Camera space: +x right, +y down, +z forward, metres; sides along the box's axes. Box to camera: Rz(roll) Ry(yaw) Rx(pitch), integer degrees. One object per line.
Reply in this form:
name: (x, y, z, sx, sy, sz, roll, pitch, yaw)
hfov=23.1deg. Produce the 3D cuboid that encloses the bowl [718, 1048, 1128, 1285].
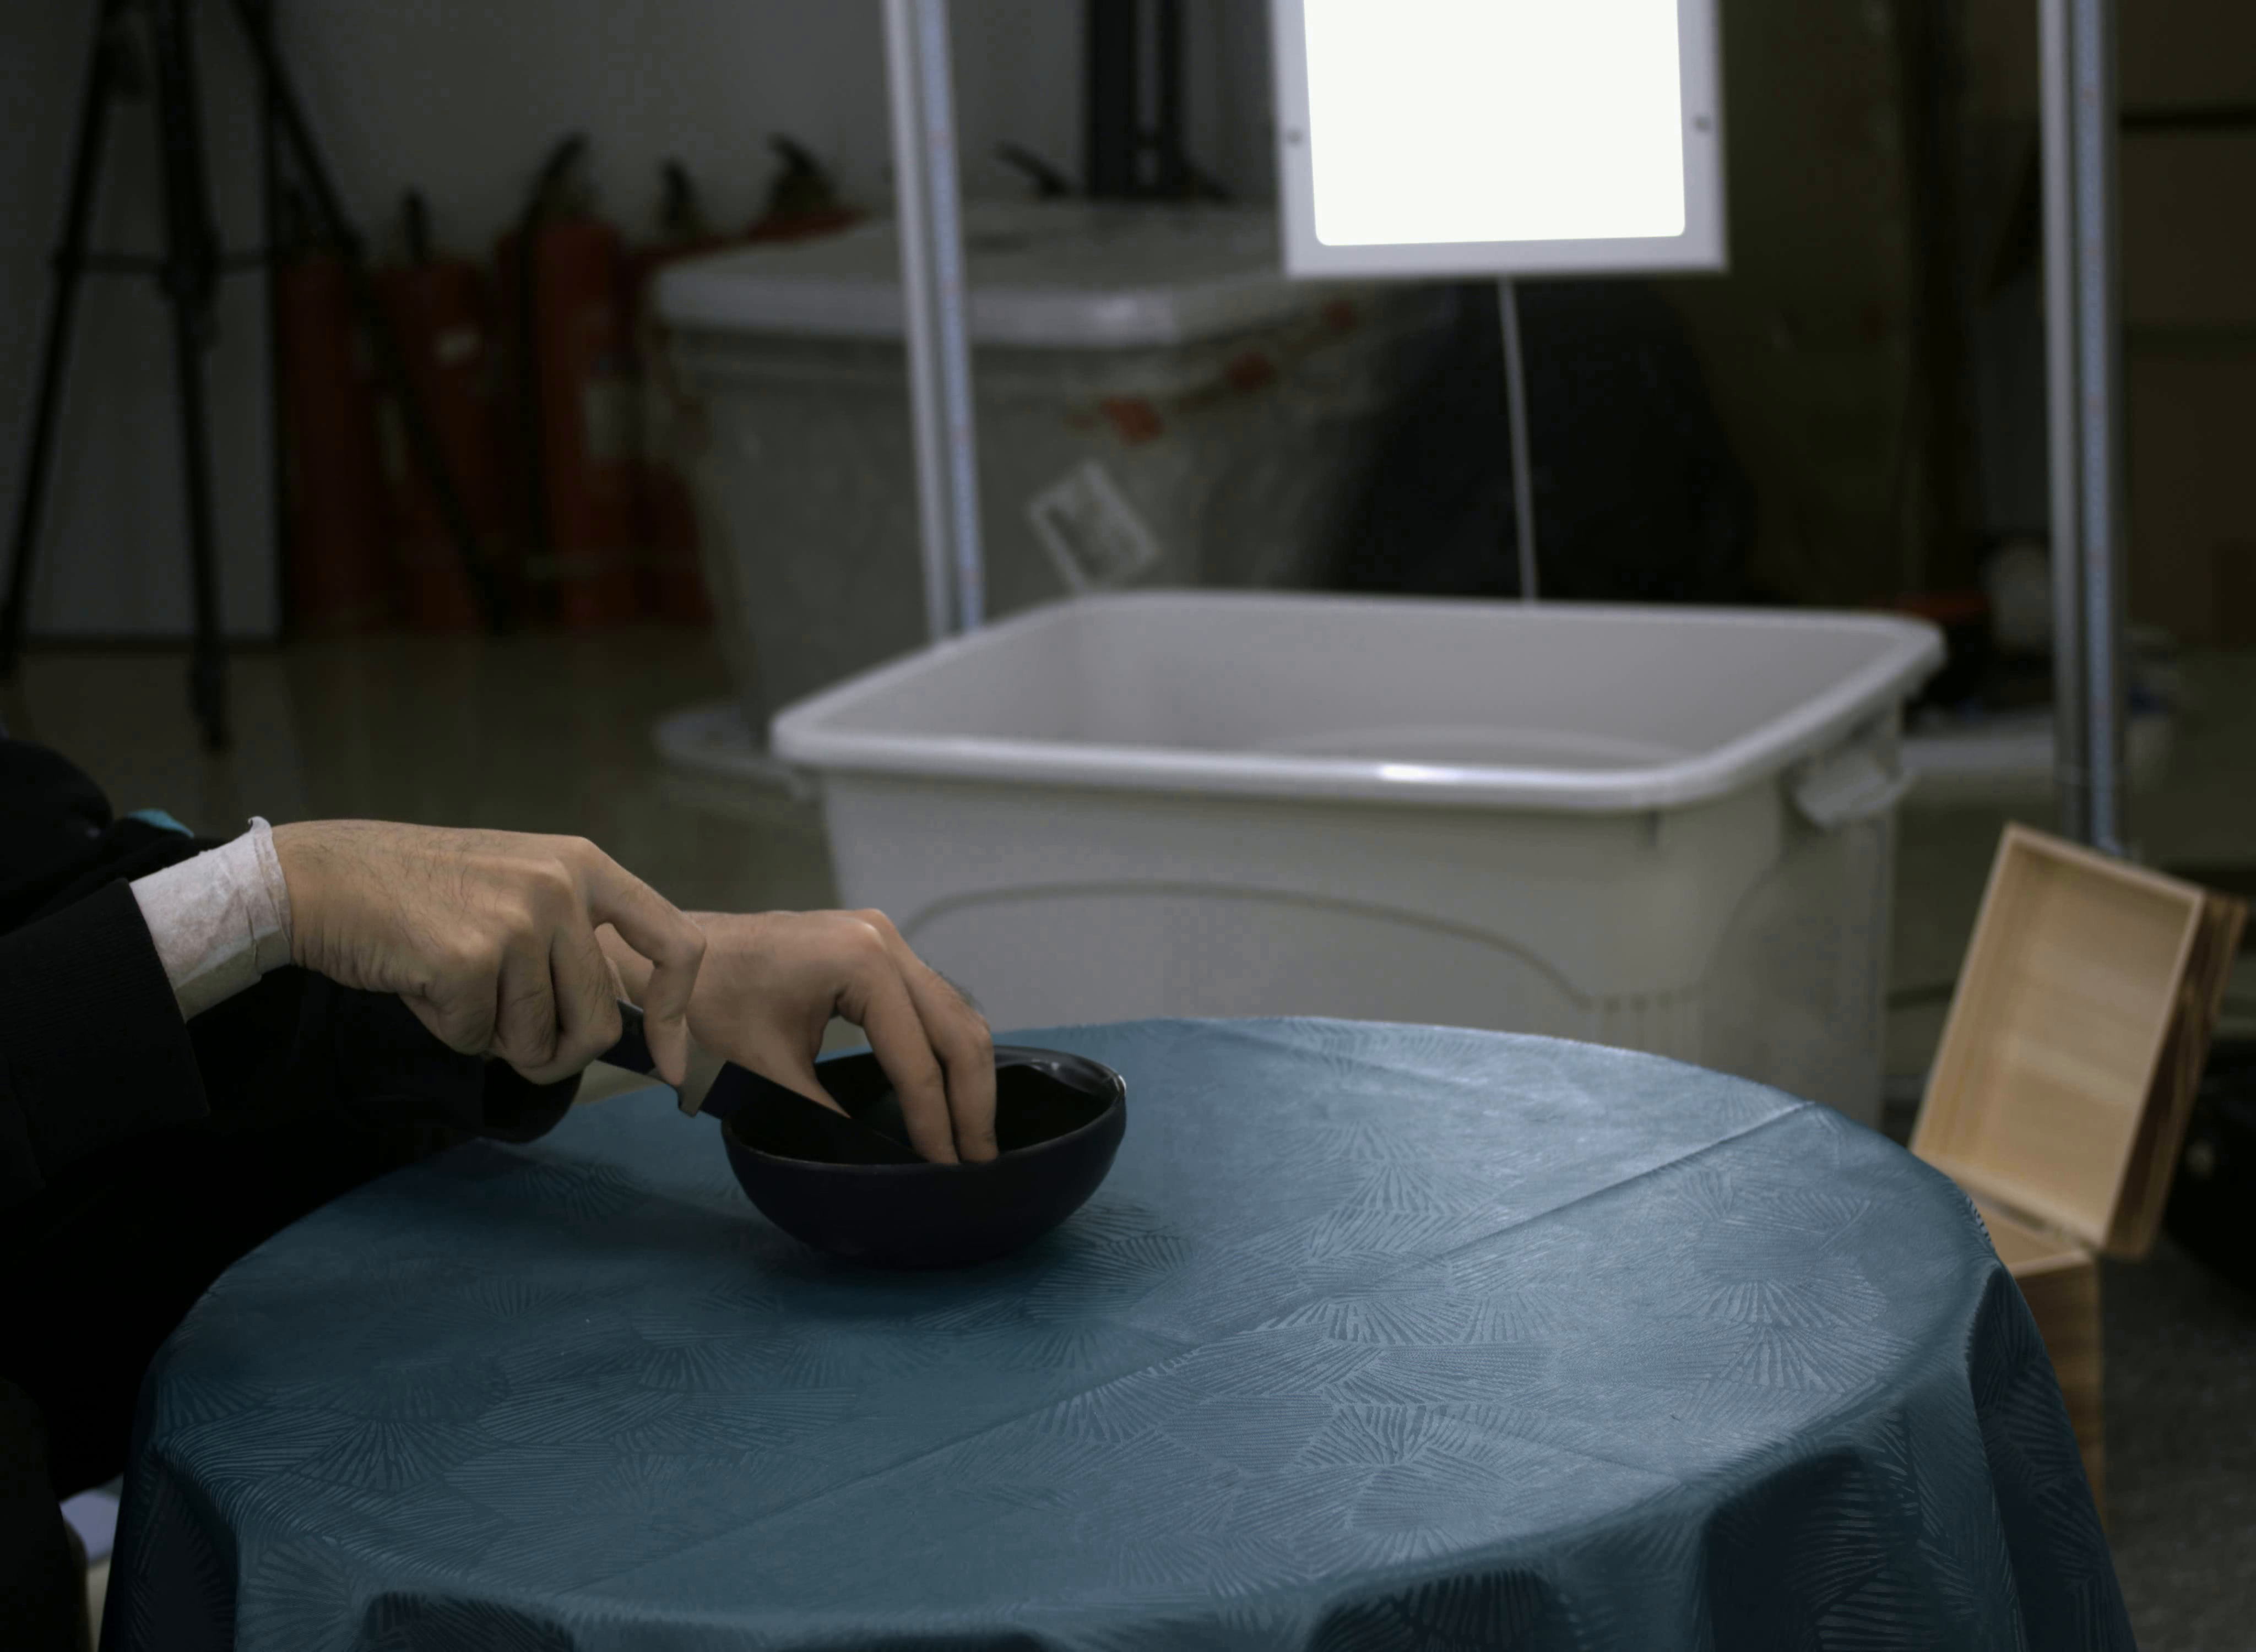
bowl: (-0.066, 0.119, 1.859, 0.140, 0.050, 0.140, -9, 14, 1)

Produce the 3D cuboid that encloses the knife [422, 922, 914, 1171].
knife: (-0.136, 0.088, 1.834, 0.223, 0.026, 0.017, 28, 18, -13)
